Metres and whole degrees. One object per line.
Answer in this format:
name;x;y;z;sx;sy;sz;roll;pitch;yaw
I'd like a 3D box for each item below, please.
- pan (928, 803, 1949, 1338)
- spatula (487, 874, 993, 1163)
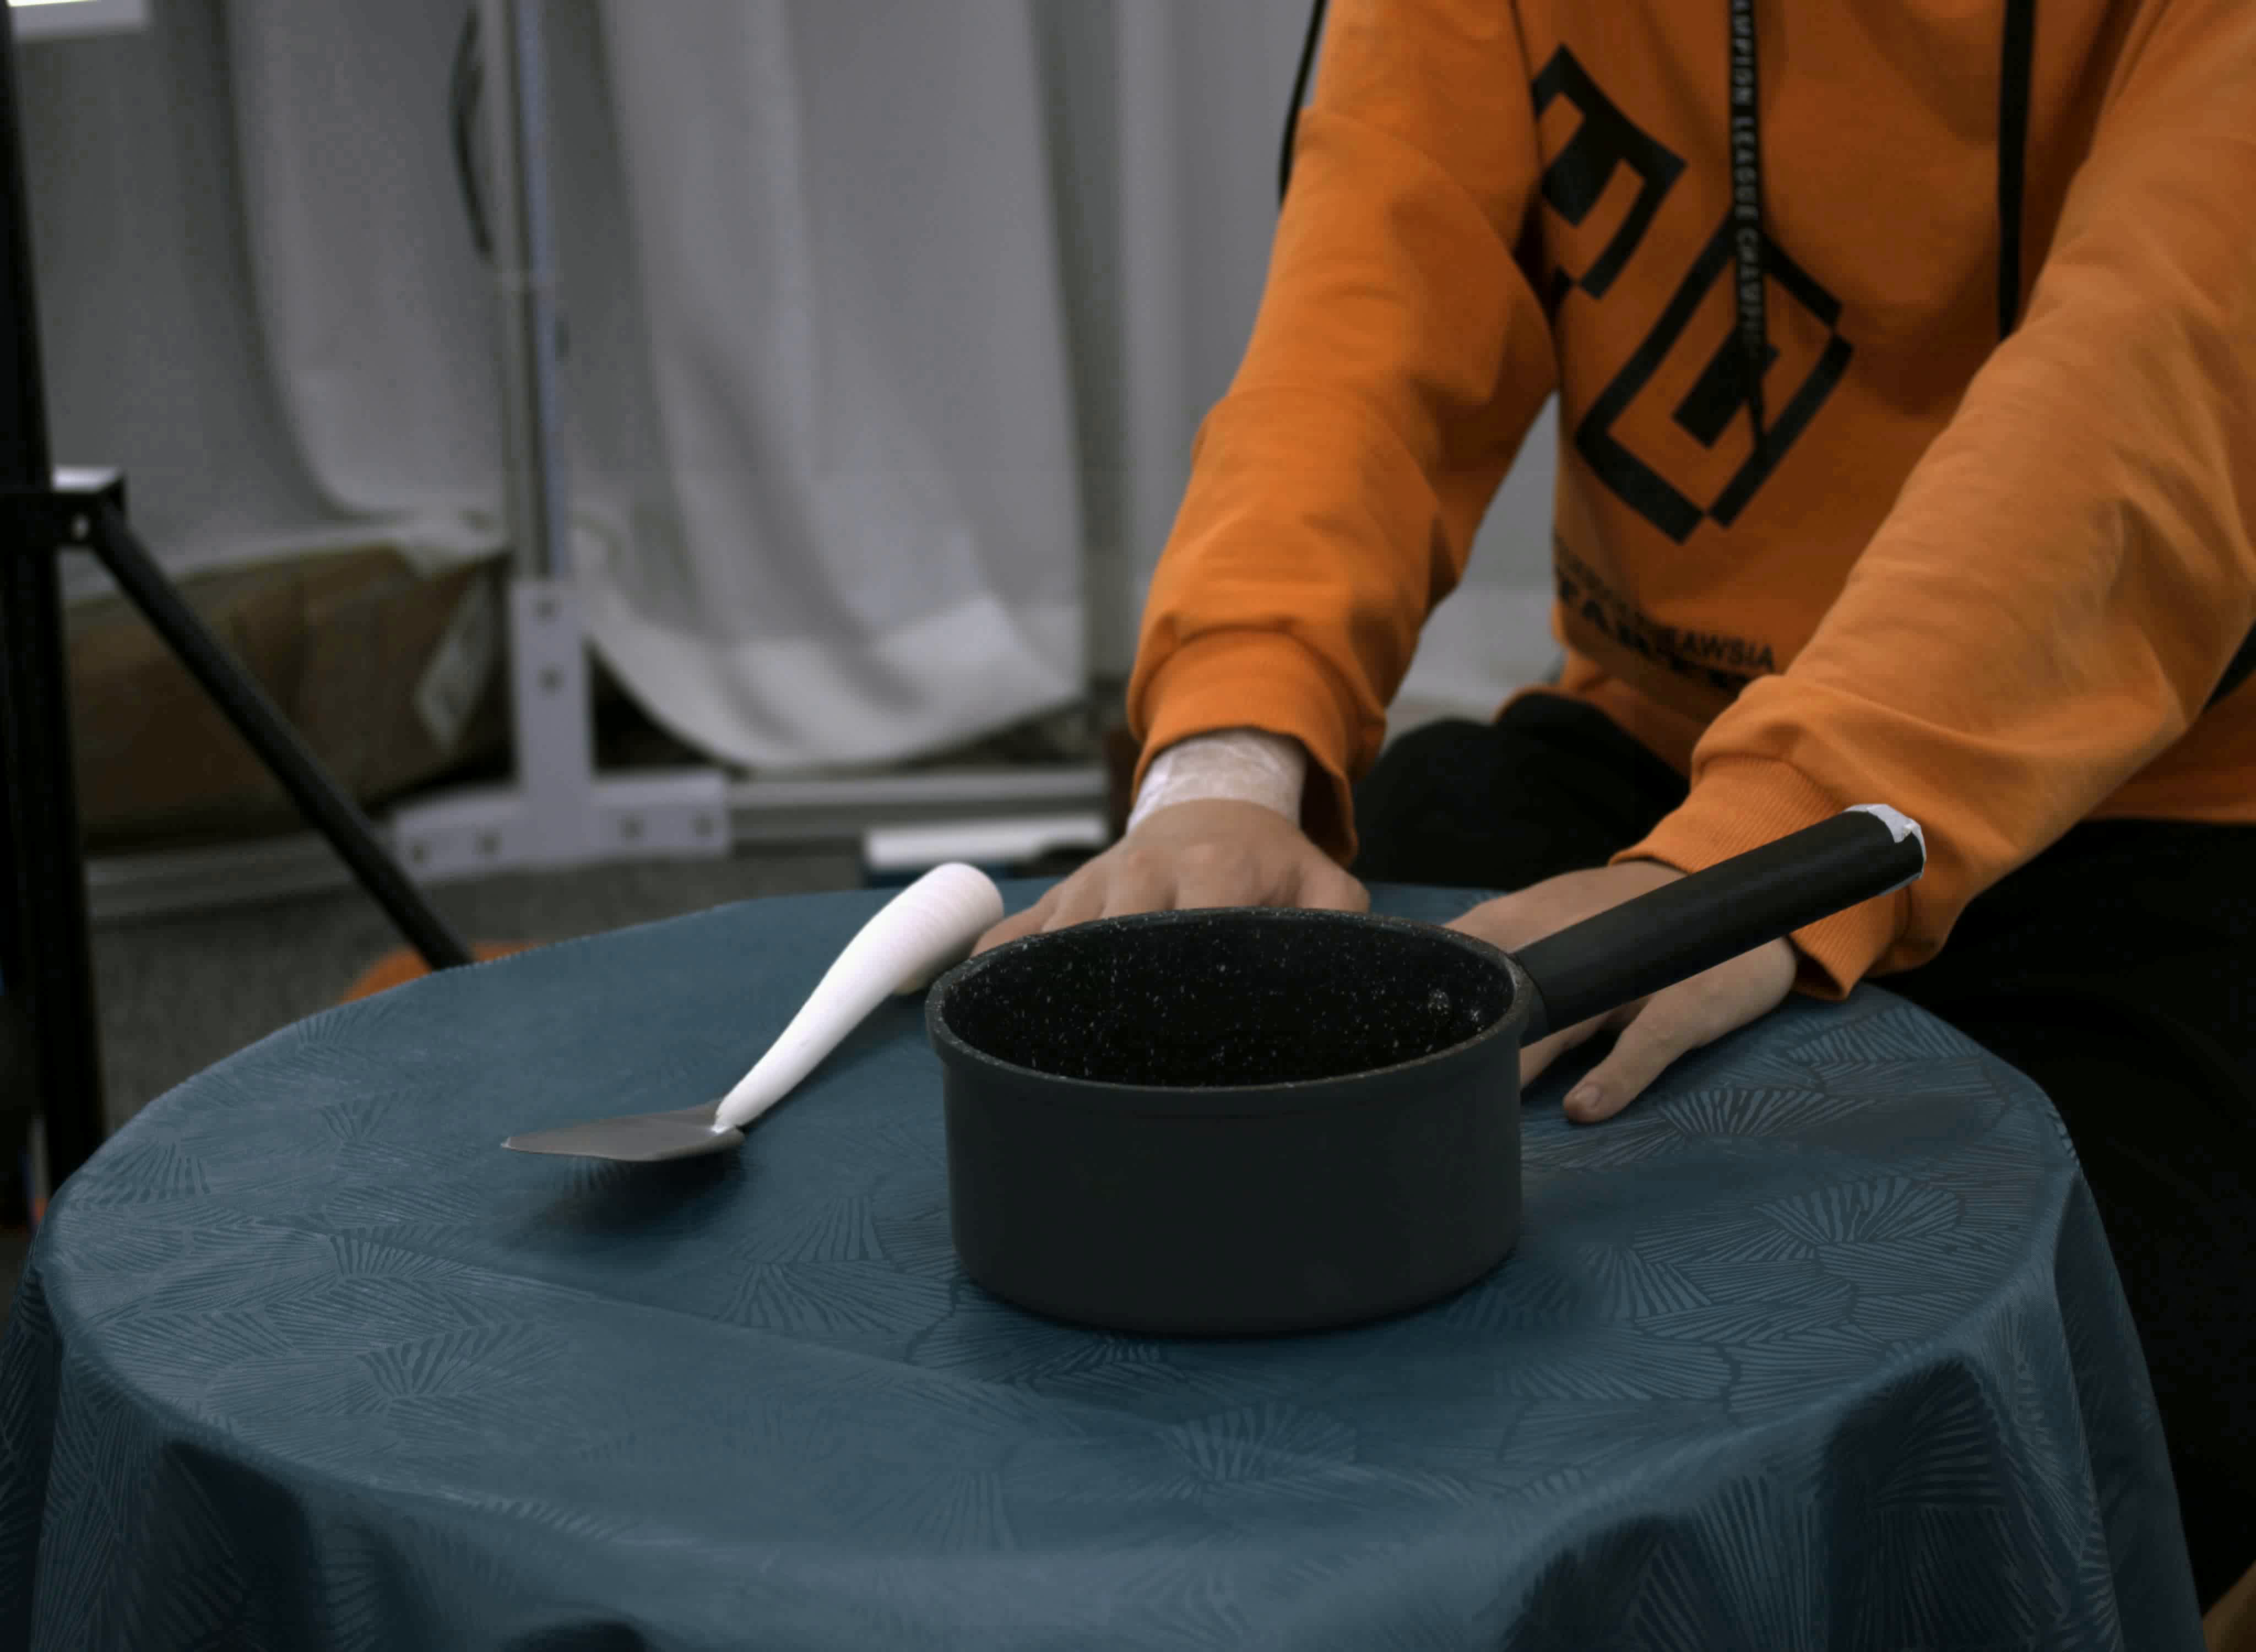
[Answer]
pan;0.099;0.066;1.533;0.322;0.086;0.175;-12;19;-25
spatula;-0.111;0.067;1.662;0.059;0.032;0.284;7;17;21
